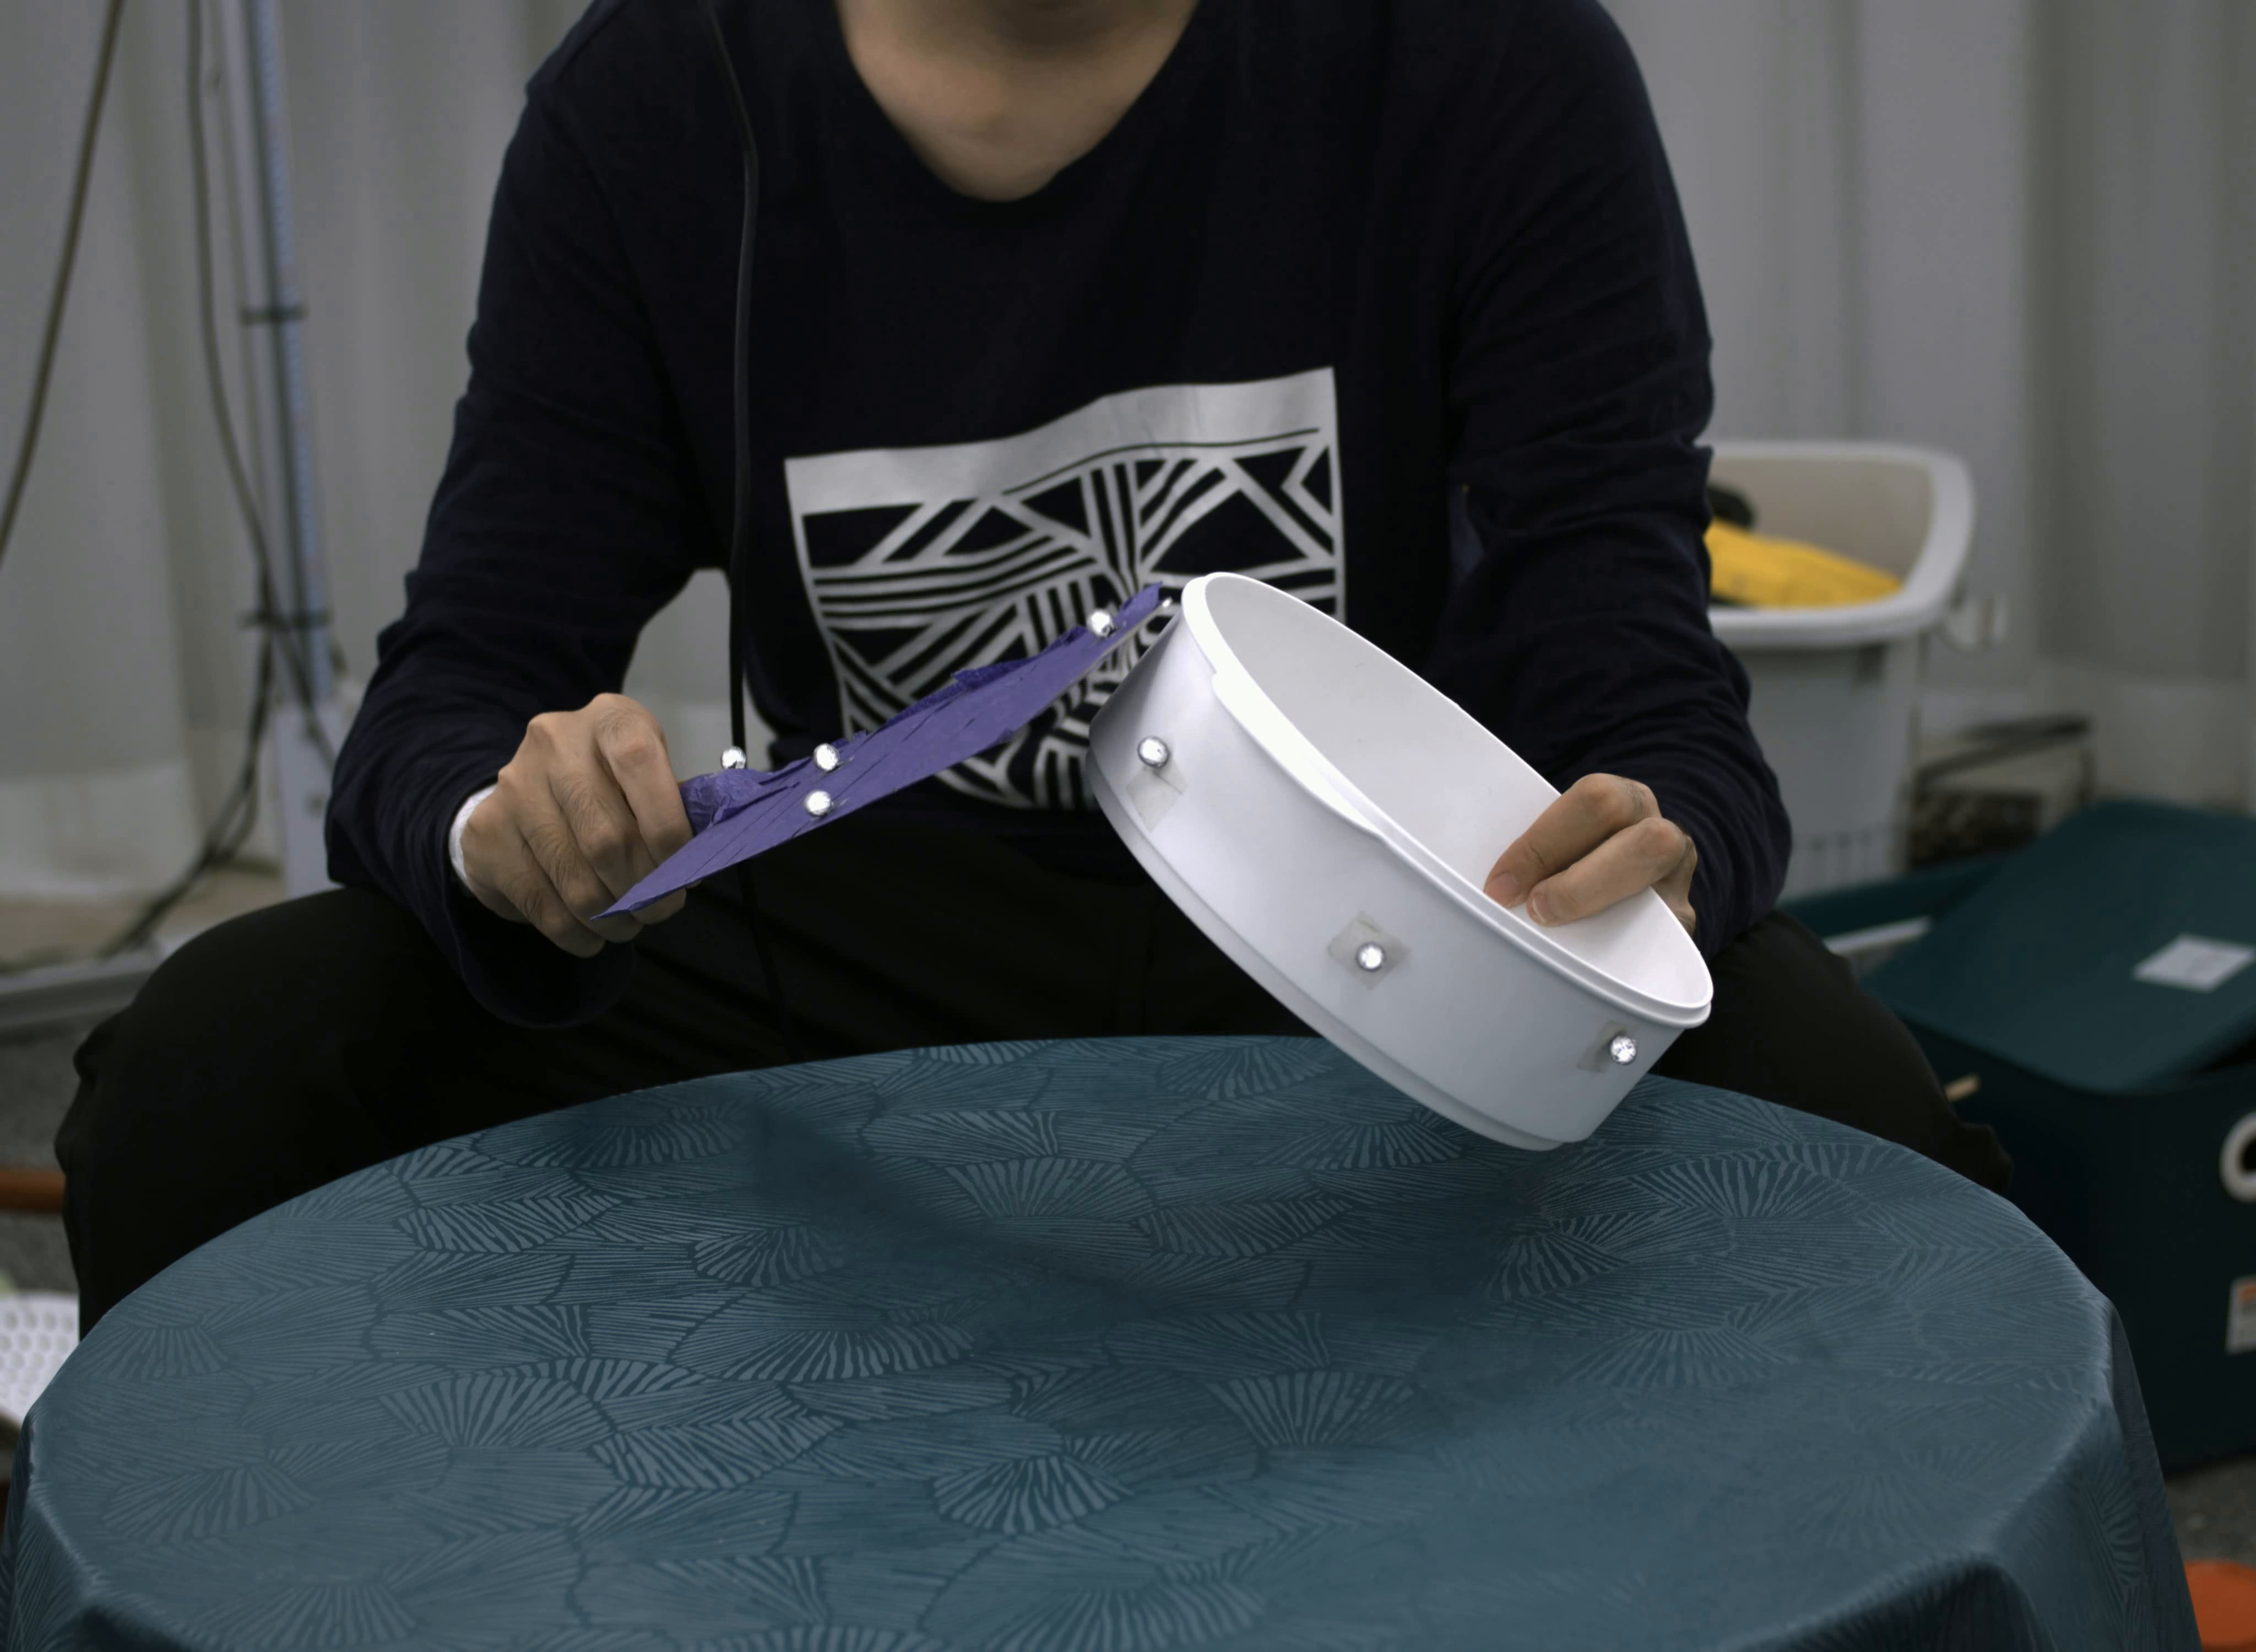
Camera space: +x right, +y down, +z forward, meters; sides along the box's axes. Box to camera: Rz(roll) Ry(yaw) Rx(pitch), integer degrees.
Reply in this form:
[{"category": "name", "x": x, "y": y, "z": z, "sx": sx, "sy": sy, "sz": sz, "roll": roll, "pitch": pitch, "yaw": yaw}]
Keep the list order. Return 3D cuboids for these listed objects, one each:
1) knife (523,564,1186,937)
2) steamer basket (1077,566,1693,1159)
[{"category": "knife", "x": -0.109, "y": -0.009, "z": 1.684, "sx": 0.314, "sy": 0.032, "sz": 0.104, "roll": -26, "pitch": 9, "yaw": 46}, {"category": "steamer basket", "x": 0.073, "y": 0.013, "z": 1.623, "sx": 0.204, "sy": 0.069, "sz": 0.228, "roll": 48, "pitch": 13, "yaw": 27}]
